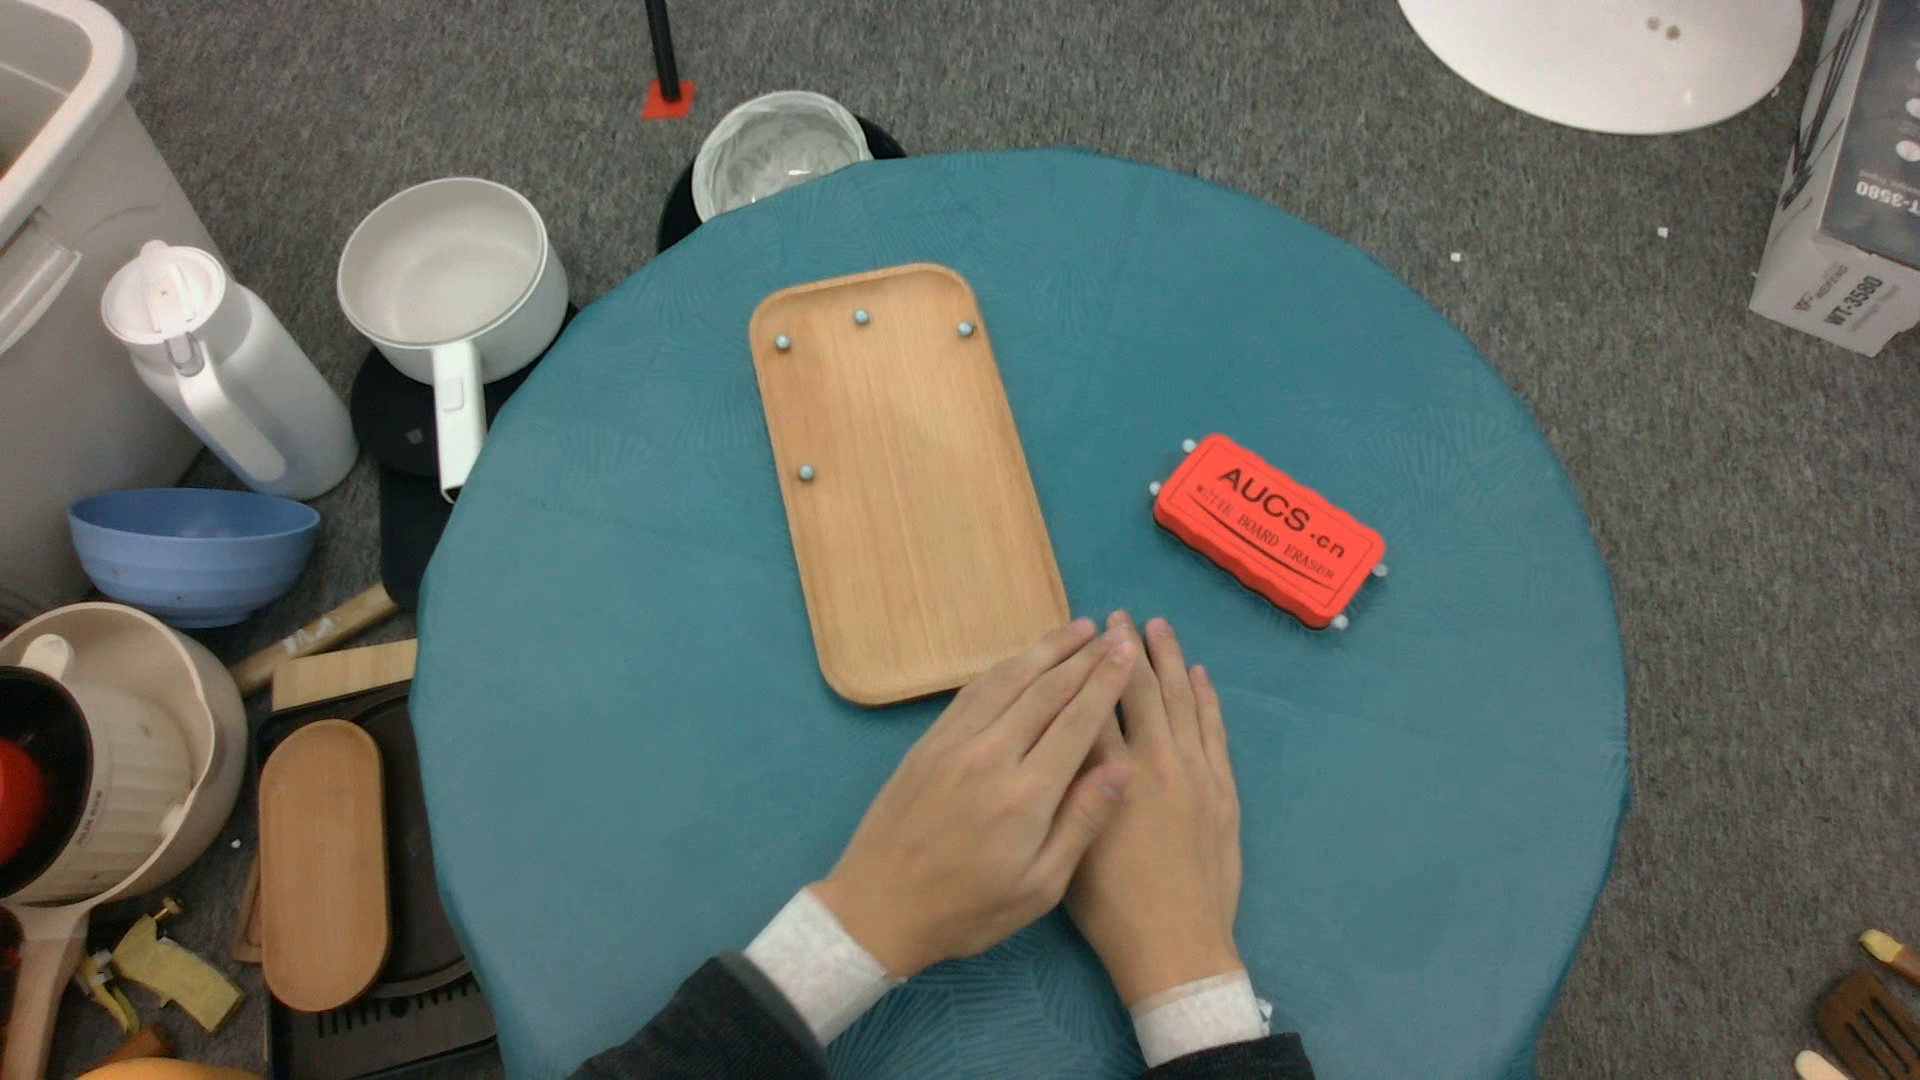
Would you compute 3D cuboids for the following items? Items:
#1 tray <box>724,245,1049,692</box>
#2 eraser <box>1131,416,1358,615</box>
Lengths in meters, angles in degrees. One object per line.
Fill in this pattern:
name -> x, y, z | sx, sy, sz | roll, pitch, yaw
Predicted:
tray -> -0.042, -0.044, 0.717 | 0.130, 0.023, 0.251 | -12, 66, -5
eraser -> 0.144, -0.014, 0.704 | 0.108, 0.023, 0.059 | 37, 68, 15
